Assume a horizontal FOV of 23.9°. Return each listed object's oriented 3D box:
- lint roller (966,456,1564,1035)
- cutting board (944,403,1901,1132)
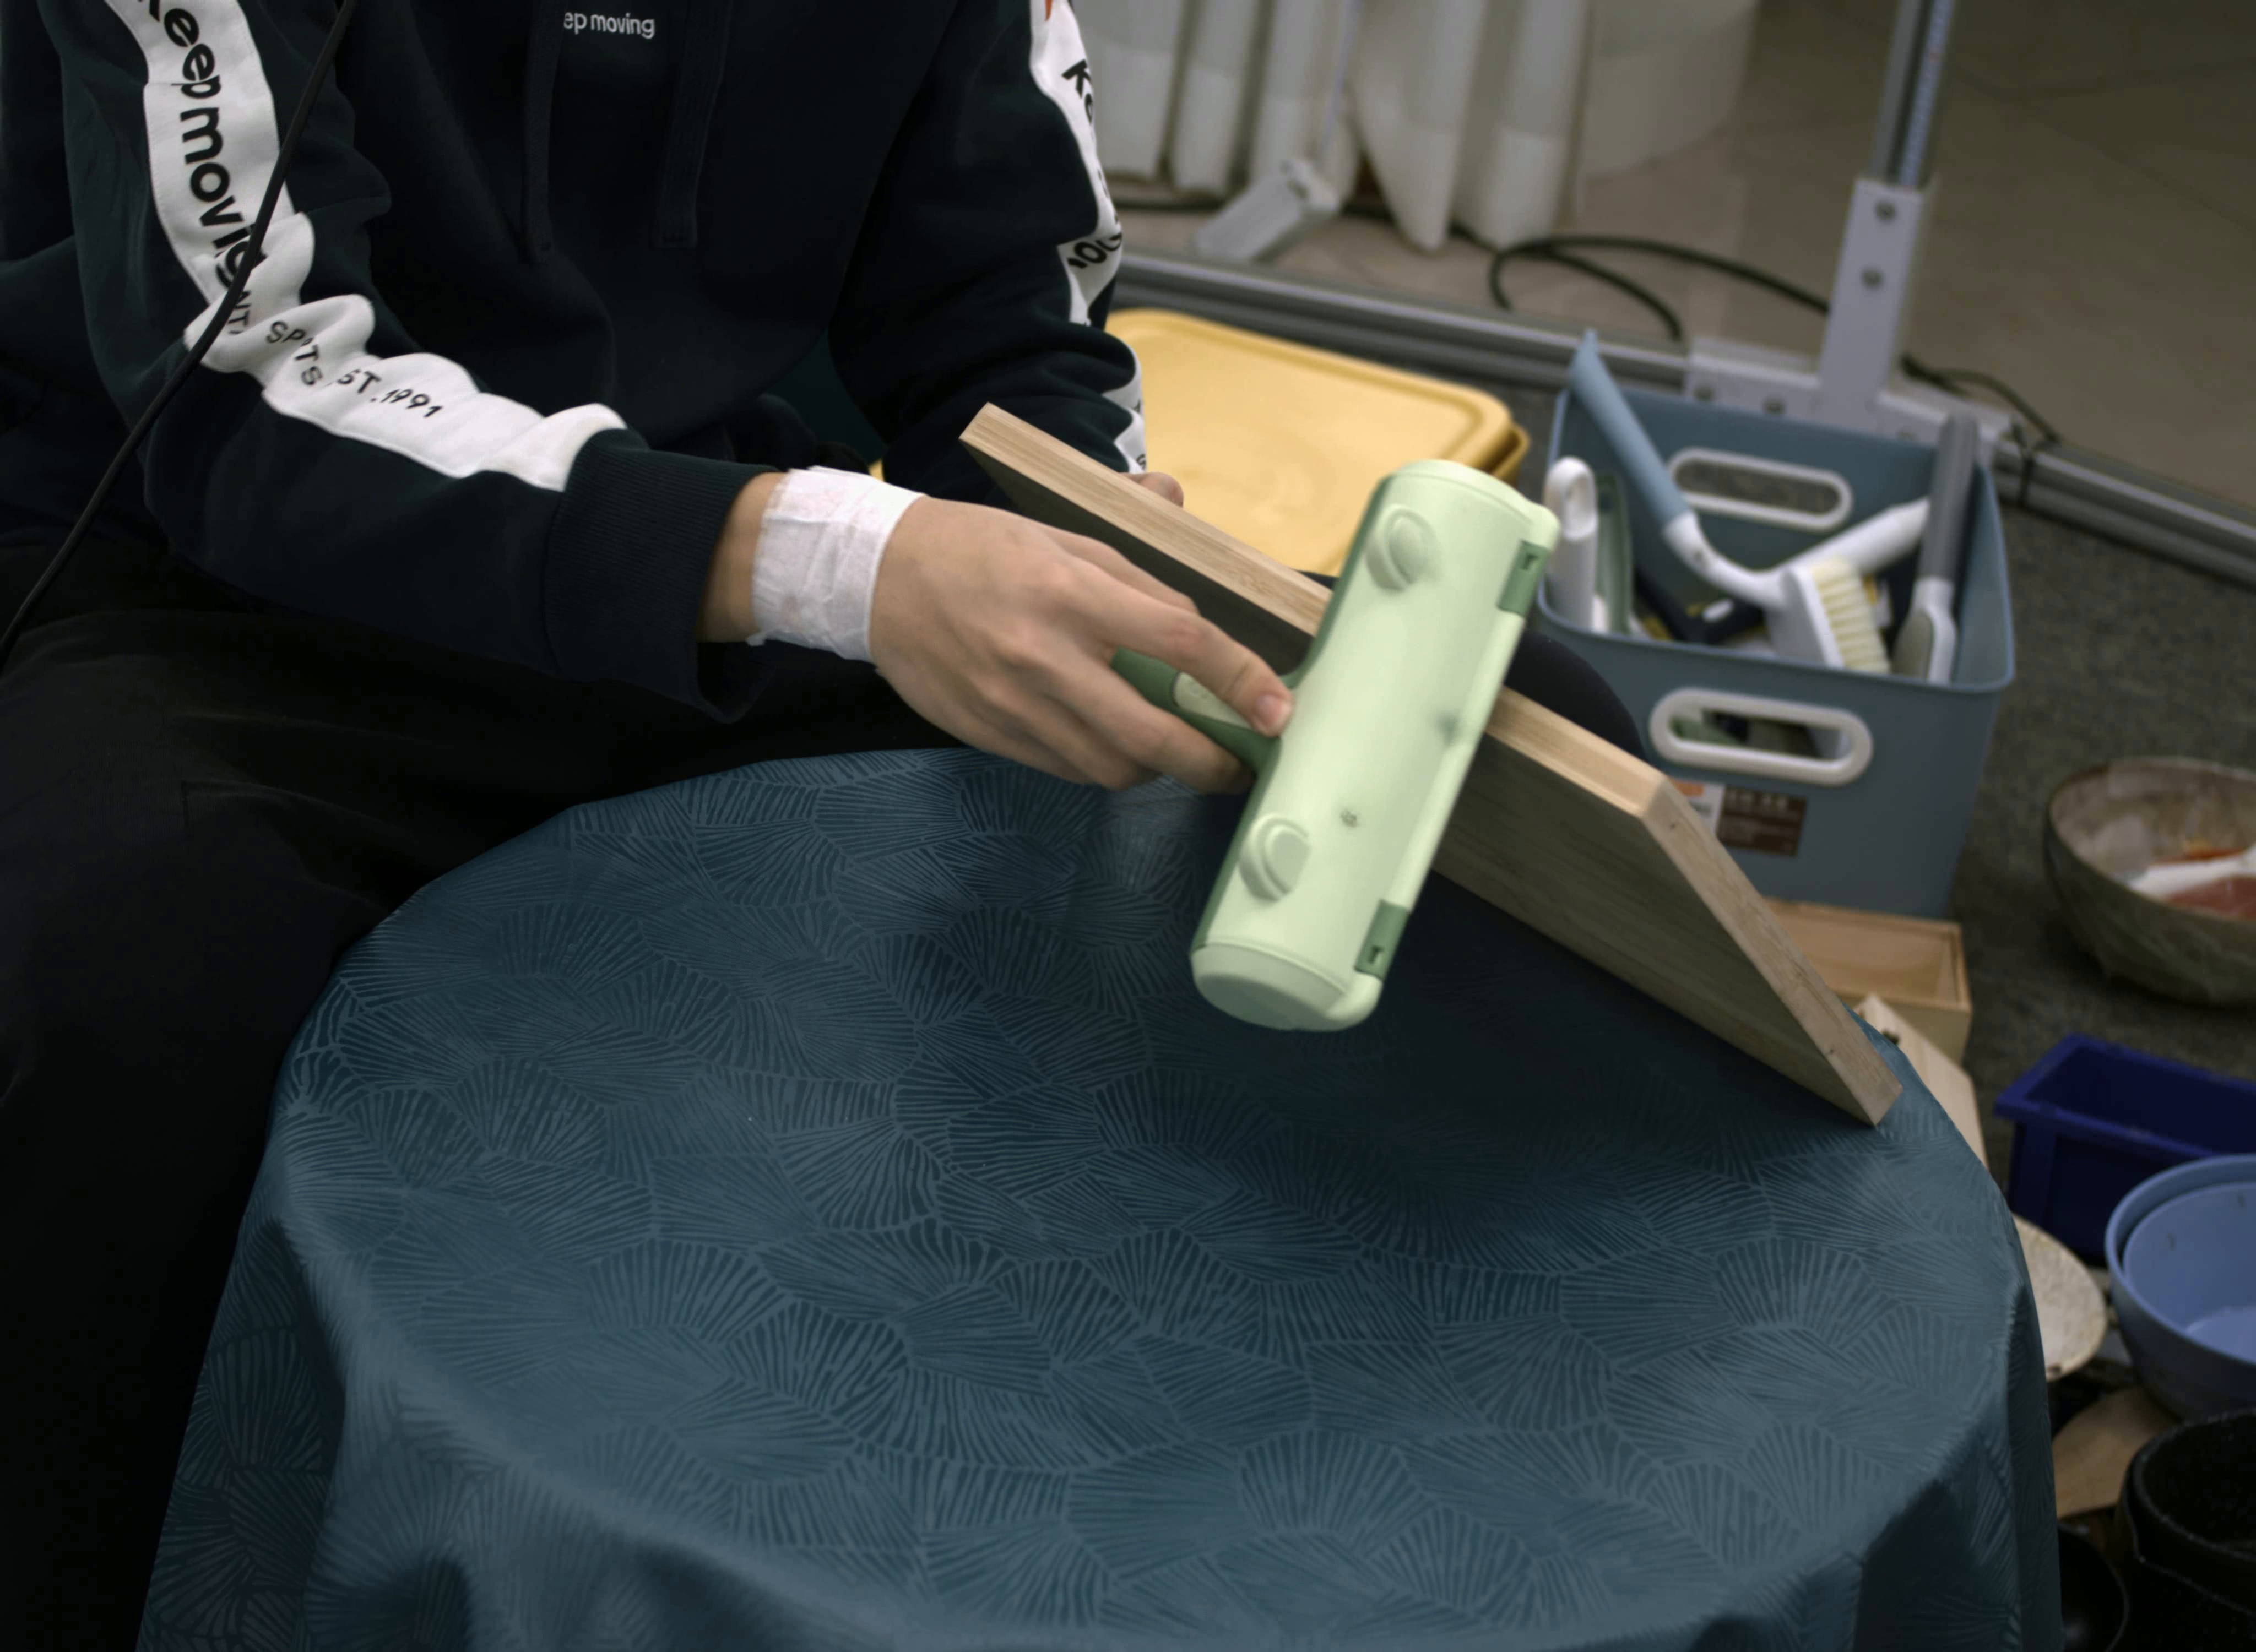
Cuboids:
[{"bbox_3d":[0.027,-0.046,1.743,0.183,0.081,0.199,18,69,14],"label":"lint roller"},{"bbox_3d":[0.103,-0.023,1.911,0.351,0.248,0.023,31,79,39],"label":"cutting board"}]
